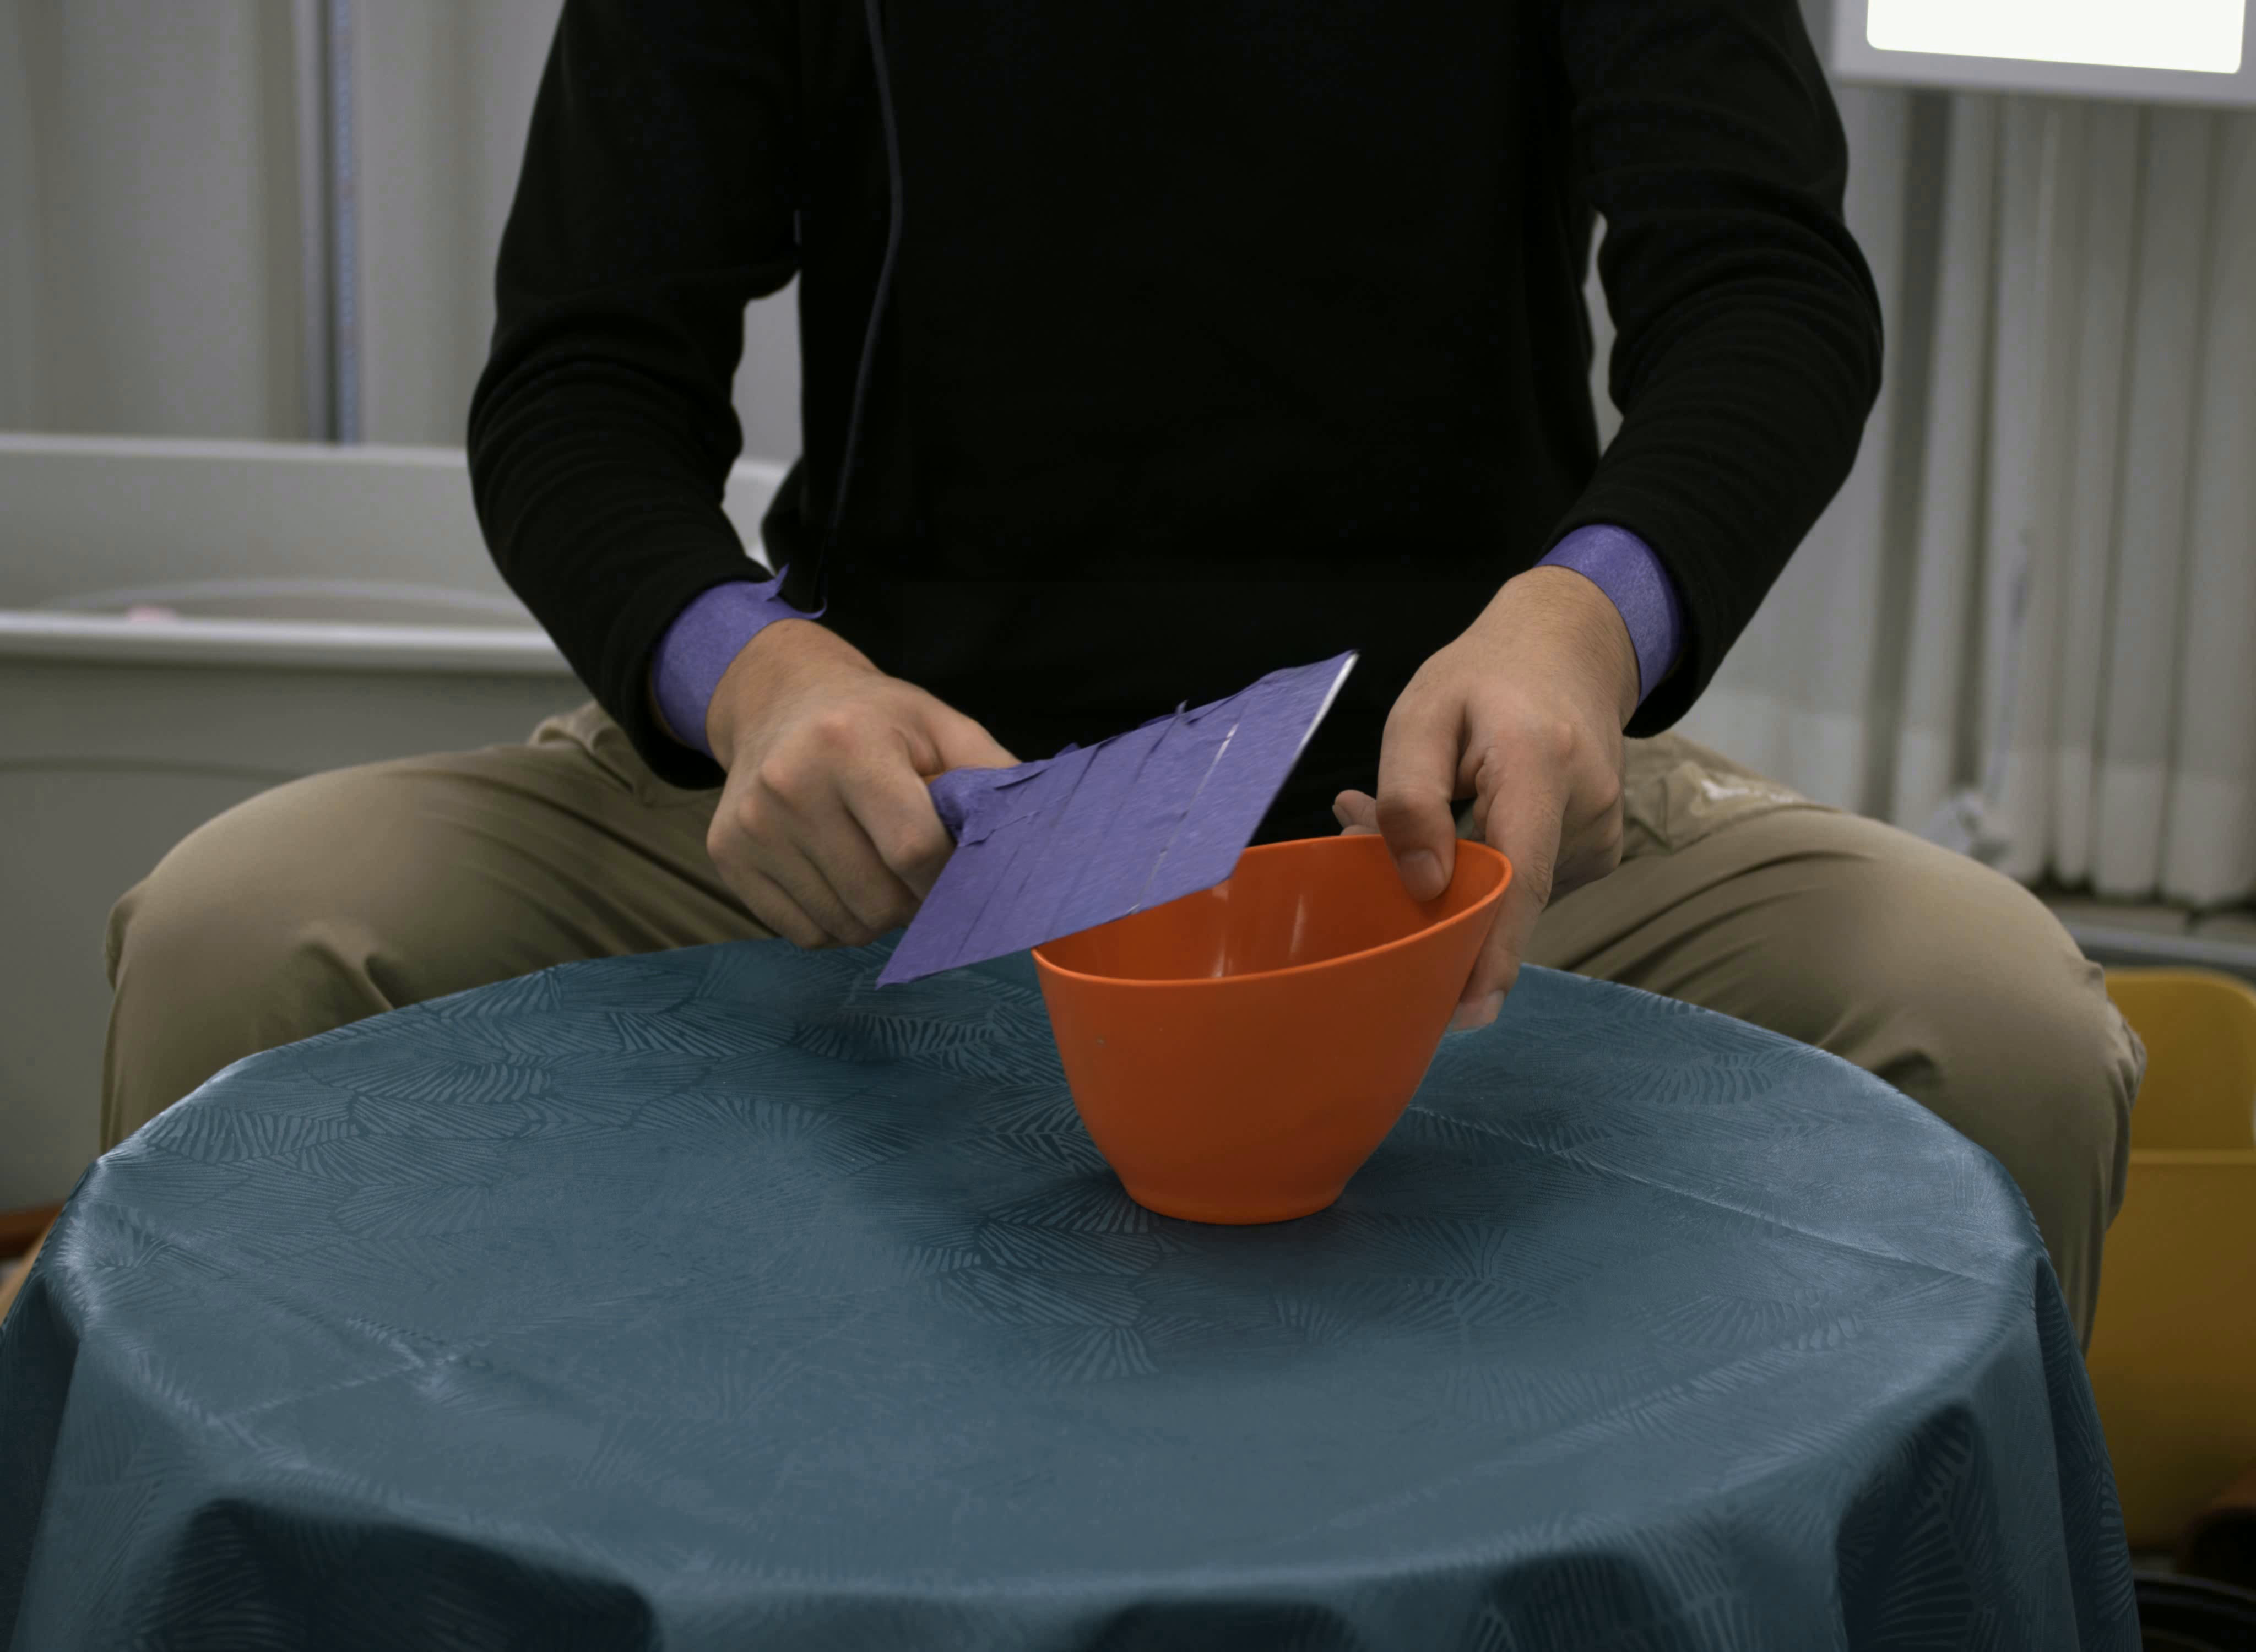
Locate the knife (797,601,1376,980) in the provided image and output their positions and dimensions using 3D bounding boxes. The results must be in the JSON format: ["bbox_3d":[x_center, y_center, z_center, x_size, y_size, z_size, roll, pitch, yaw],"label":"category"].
[{"bbox_3d":[-0.033,0.003,1.653,0.313,0.032,0.103,-23,31,56],"label":"knife"}]

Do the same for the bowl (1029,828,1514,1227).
[{"bbox_3d":[0.043,0.063,1.608,0.147,0.105,0.147,0,18,0],"label":"bowl"}]
